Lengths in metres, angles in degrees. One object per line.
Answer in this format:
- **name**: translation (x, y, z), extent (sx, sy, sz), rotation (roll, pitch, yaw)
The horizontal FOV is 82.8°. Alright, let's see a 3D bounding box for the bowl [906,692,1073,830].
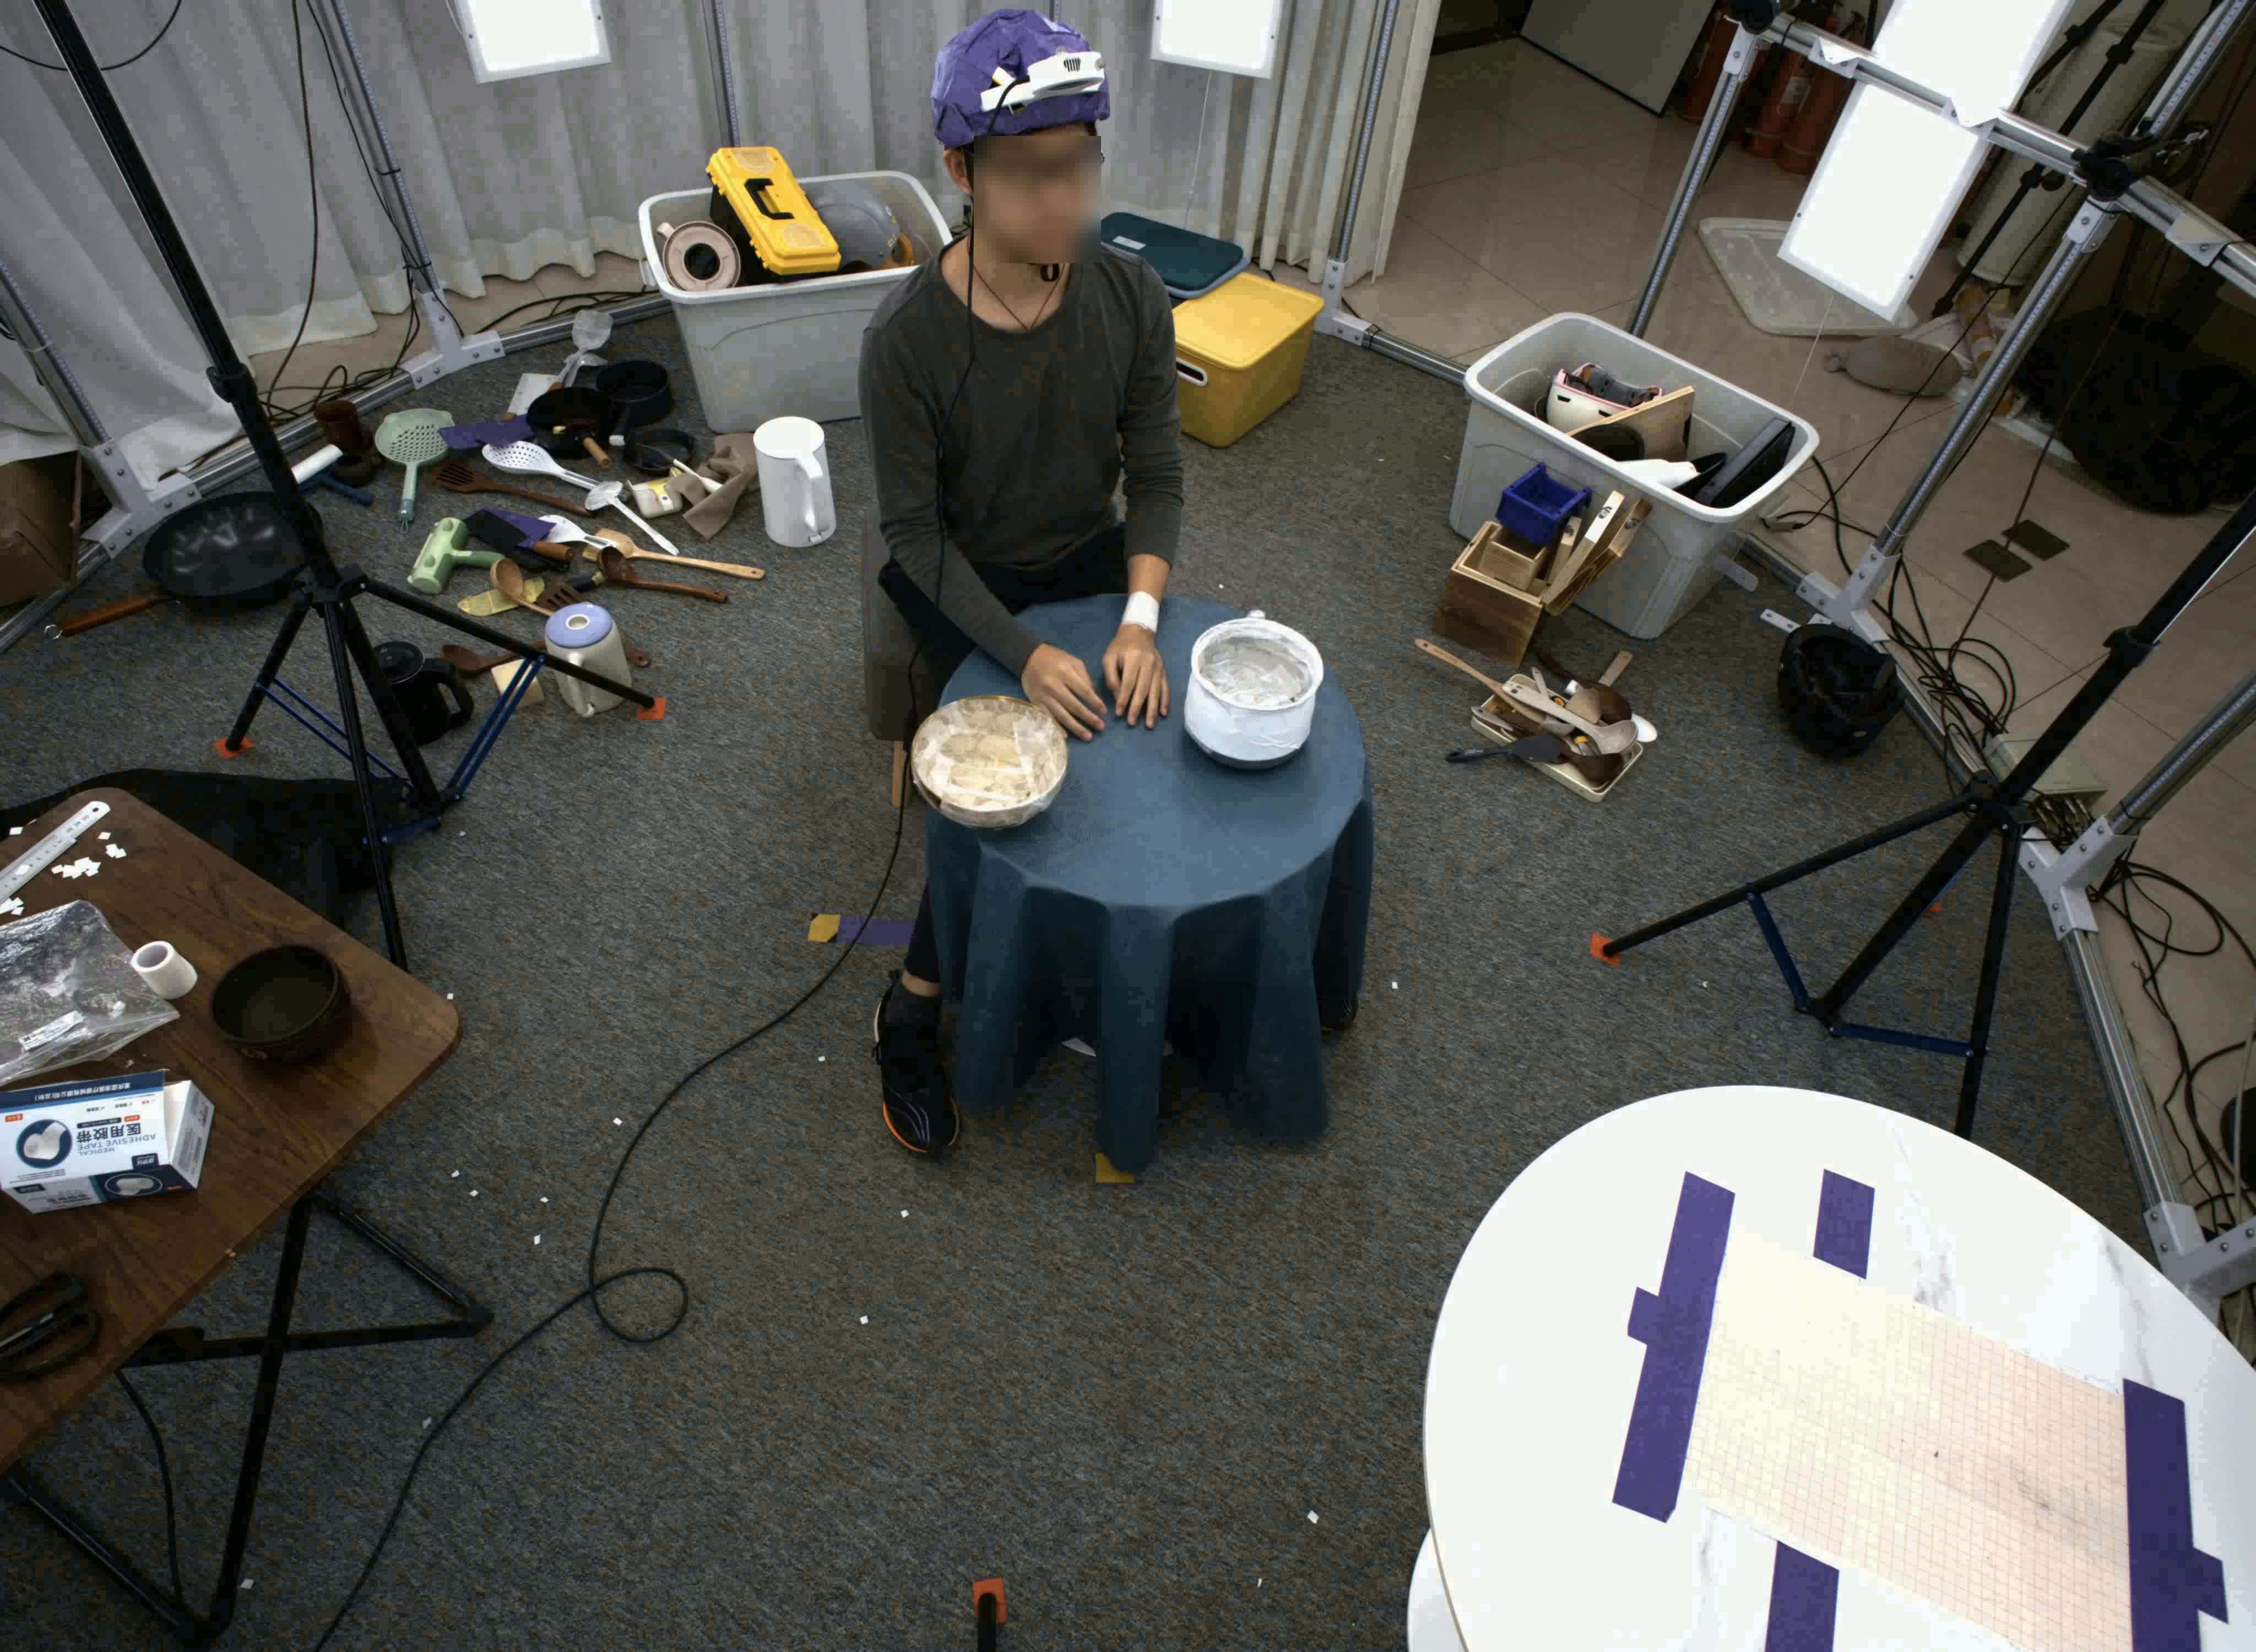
- **bowl**: translation (-0.178, -0.069, 1.656), extent (0.214, 0.092, 0.220), rotation (1, 48, -1)

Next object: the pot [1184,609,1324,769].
- **pot**: translation (0.168, -0.197, 1.761), extent (0.178, 0.133, 0.239), rotation (5, 49, -1)
